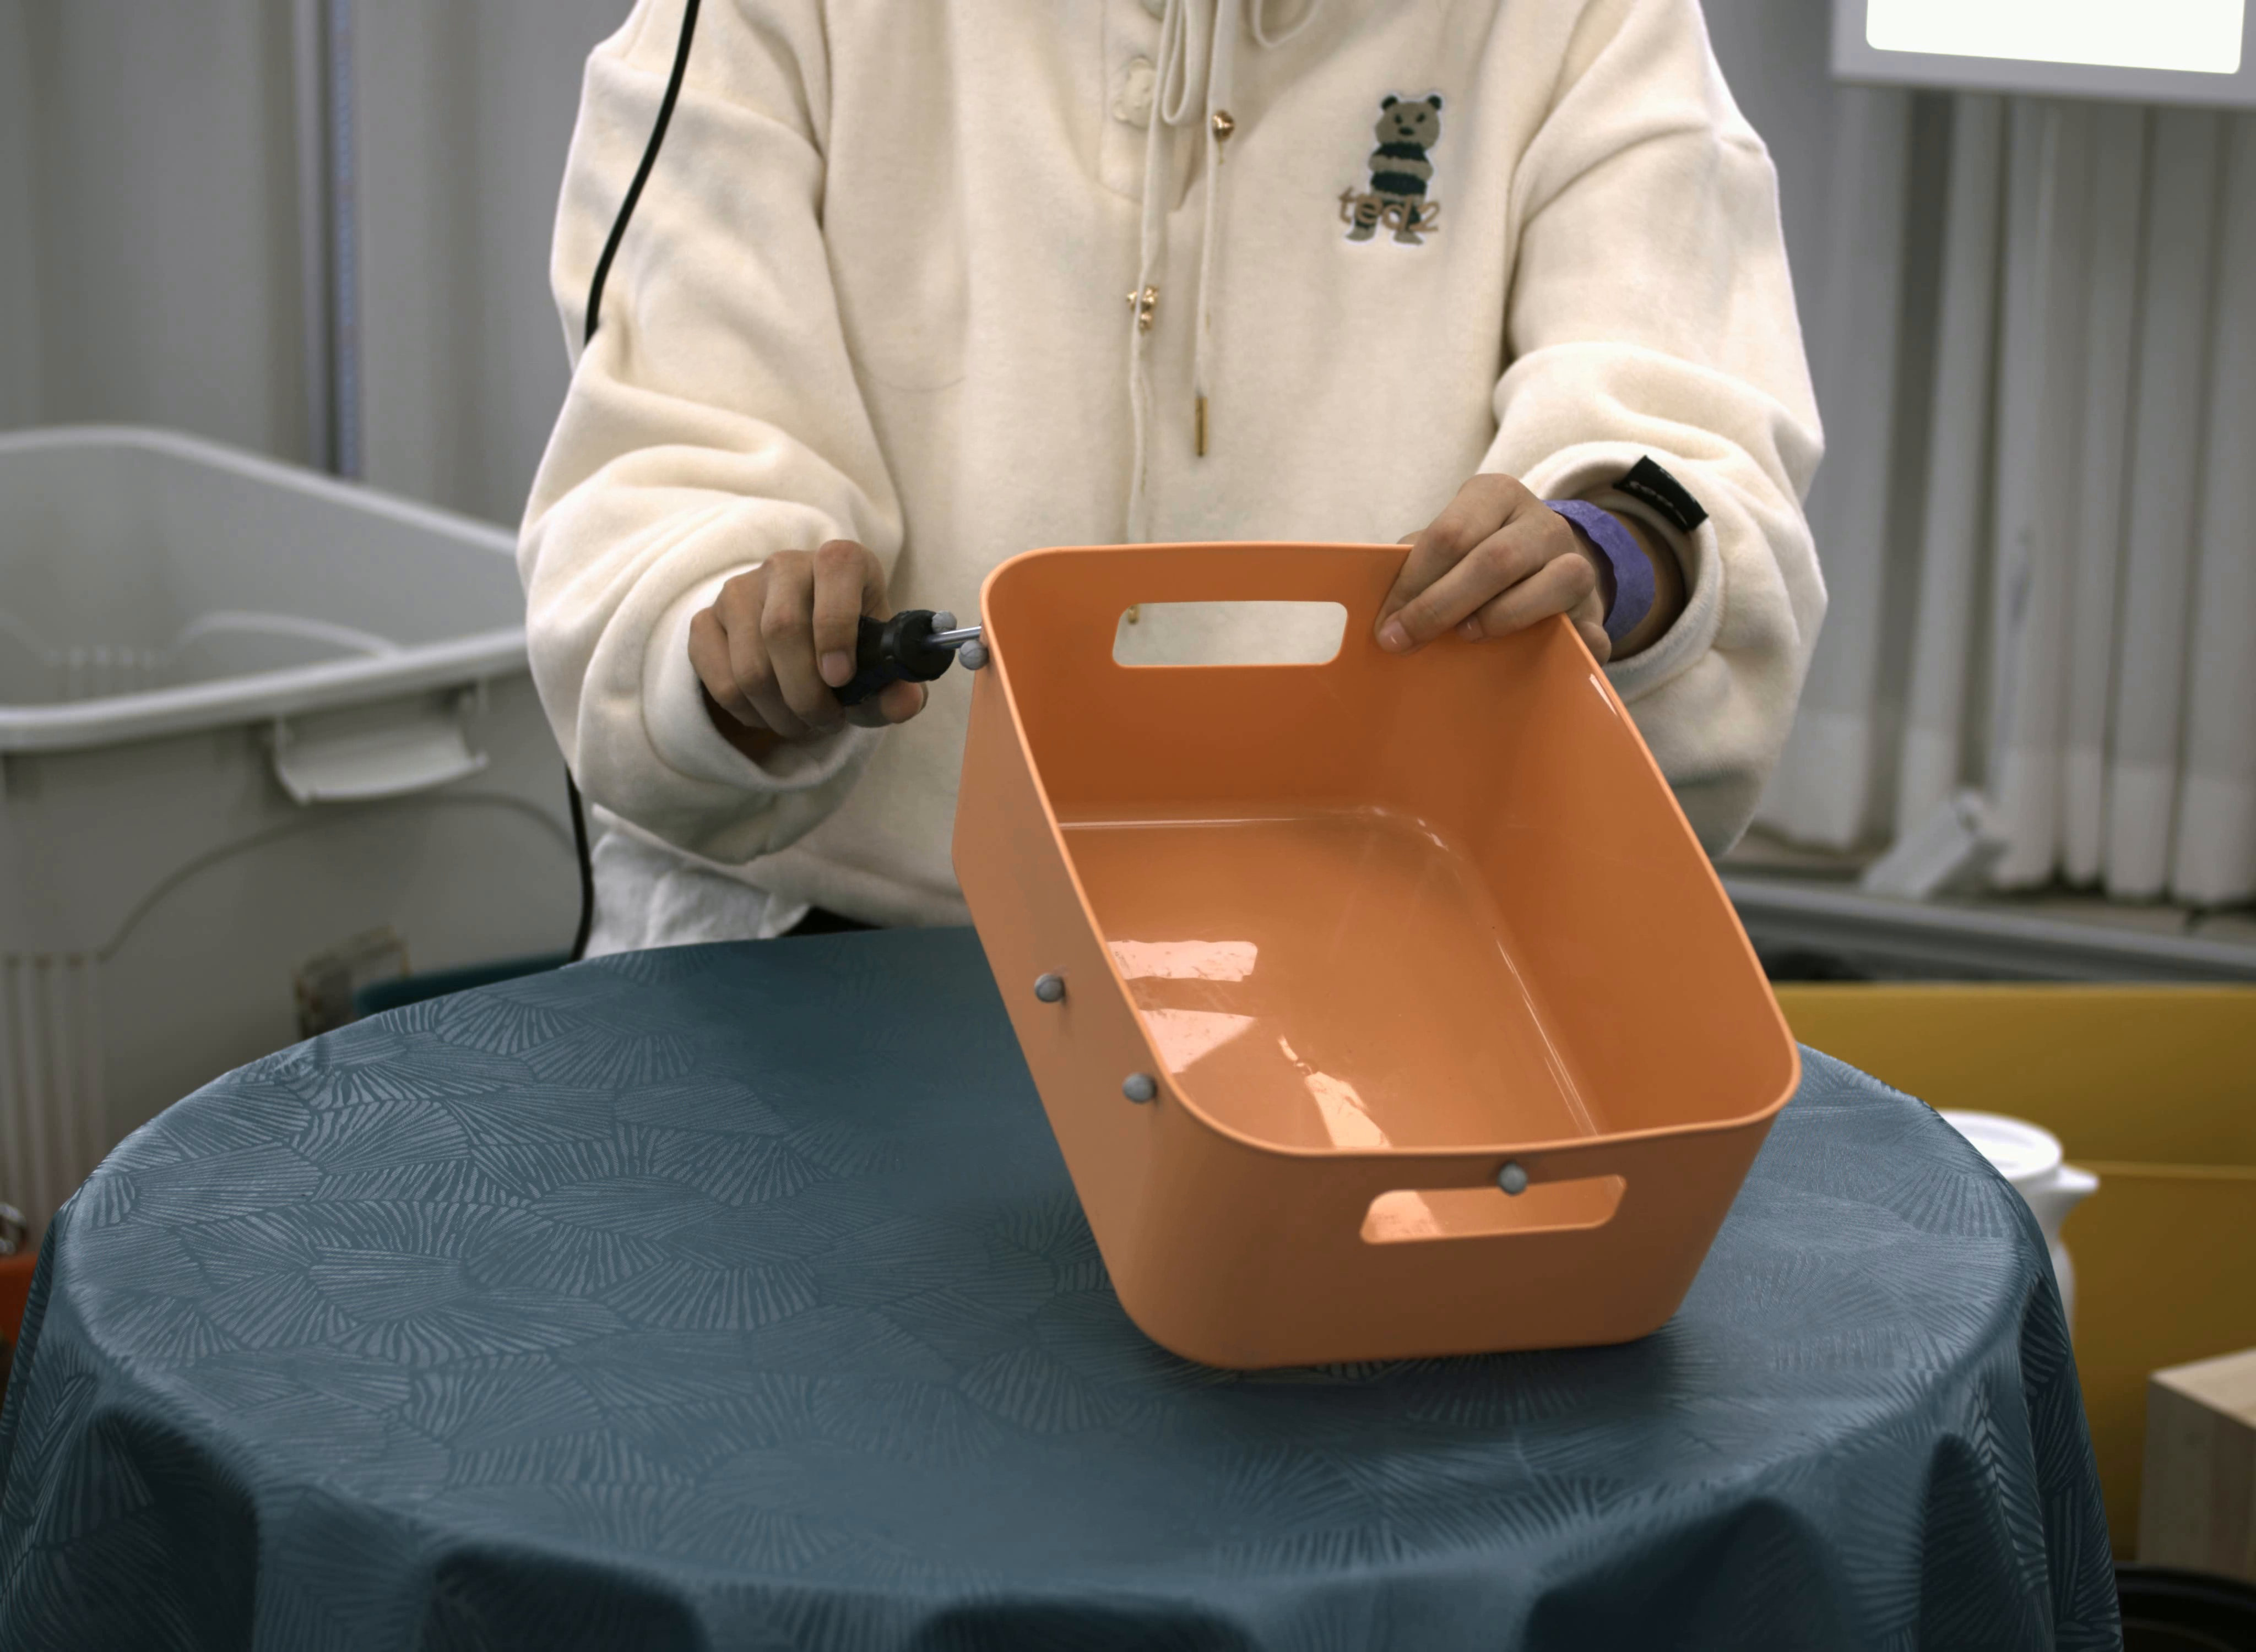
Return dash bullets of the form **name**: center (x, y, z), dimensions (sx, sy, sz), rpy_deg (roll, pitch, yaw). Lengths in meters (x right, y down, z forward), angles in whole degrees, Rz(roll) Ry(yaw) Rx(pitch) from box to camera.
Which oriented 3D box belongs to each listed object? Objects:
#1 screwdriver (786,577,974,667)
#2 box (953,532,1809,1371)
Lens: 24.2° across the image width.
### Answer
- **screwdriver**: center (-0.058, -0.064, 1.692), dimensions (0.031, 0.031, 0.196), rpy_deg (-9, 8, -30)
- **box**: center (0.063, 0.036, 1.532), dimensions (0.200, 0.103, 0.270), rpy_deg (-2, 42, -20)
